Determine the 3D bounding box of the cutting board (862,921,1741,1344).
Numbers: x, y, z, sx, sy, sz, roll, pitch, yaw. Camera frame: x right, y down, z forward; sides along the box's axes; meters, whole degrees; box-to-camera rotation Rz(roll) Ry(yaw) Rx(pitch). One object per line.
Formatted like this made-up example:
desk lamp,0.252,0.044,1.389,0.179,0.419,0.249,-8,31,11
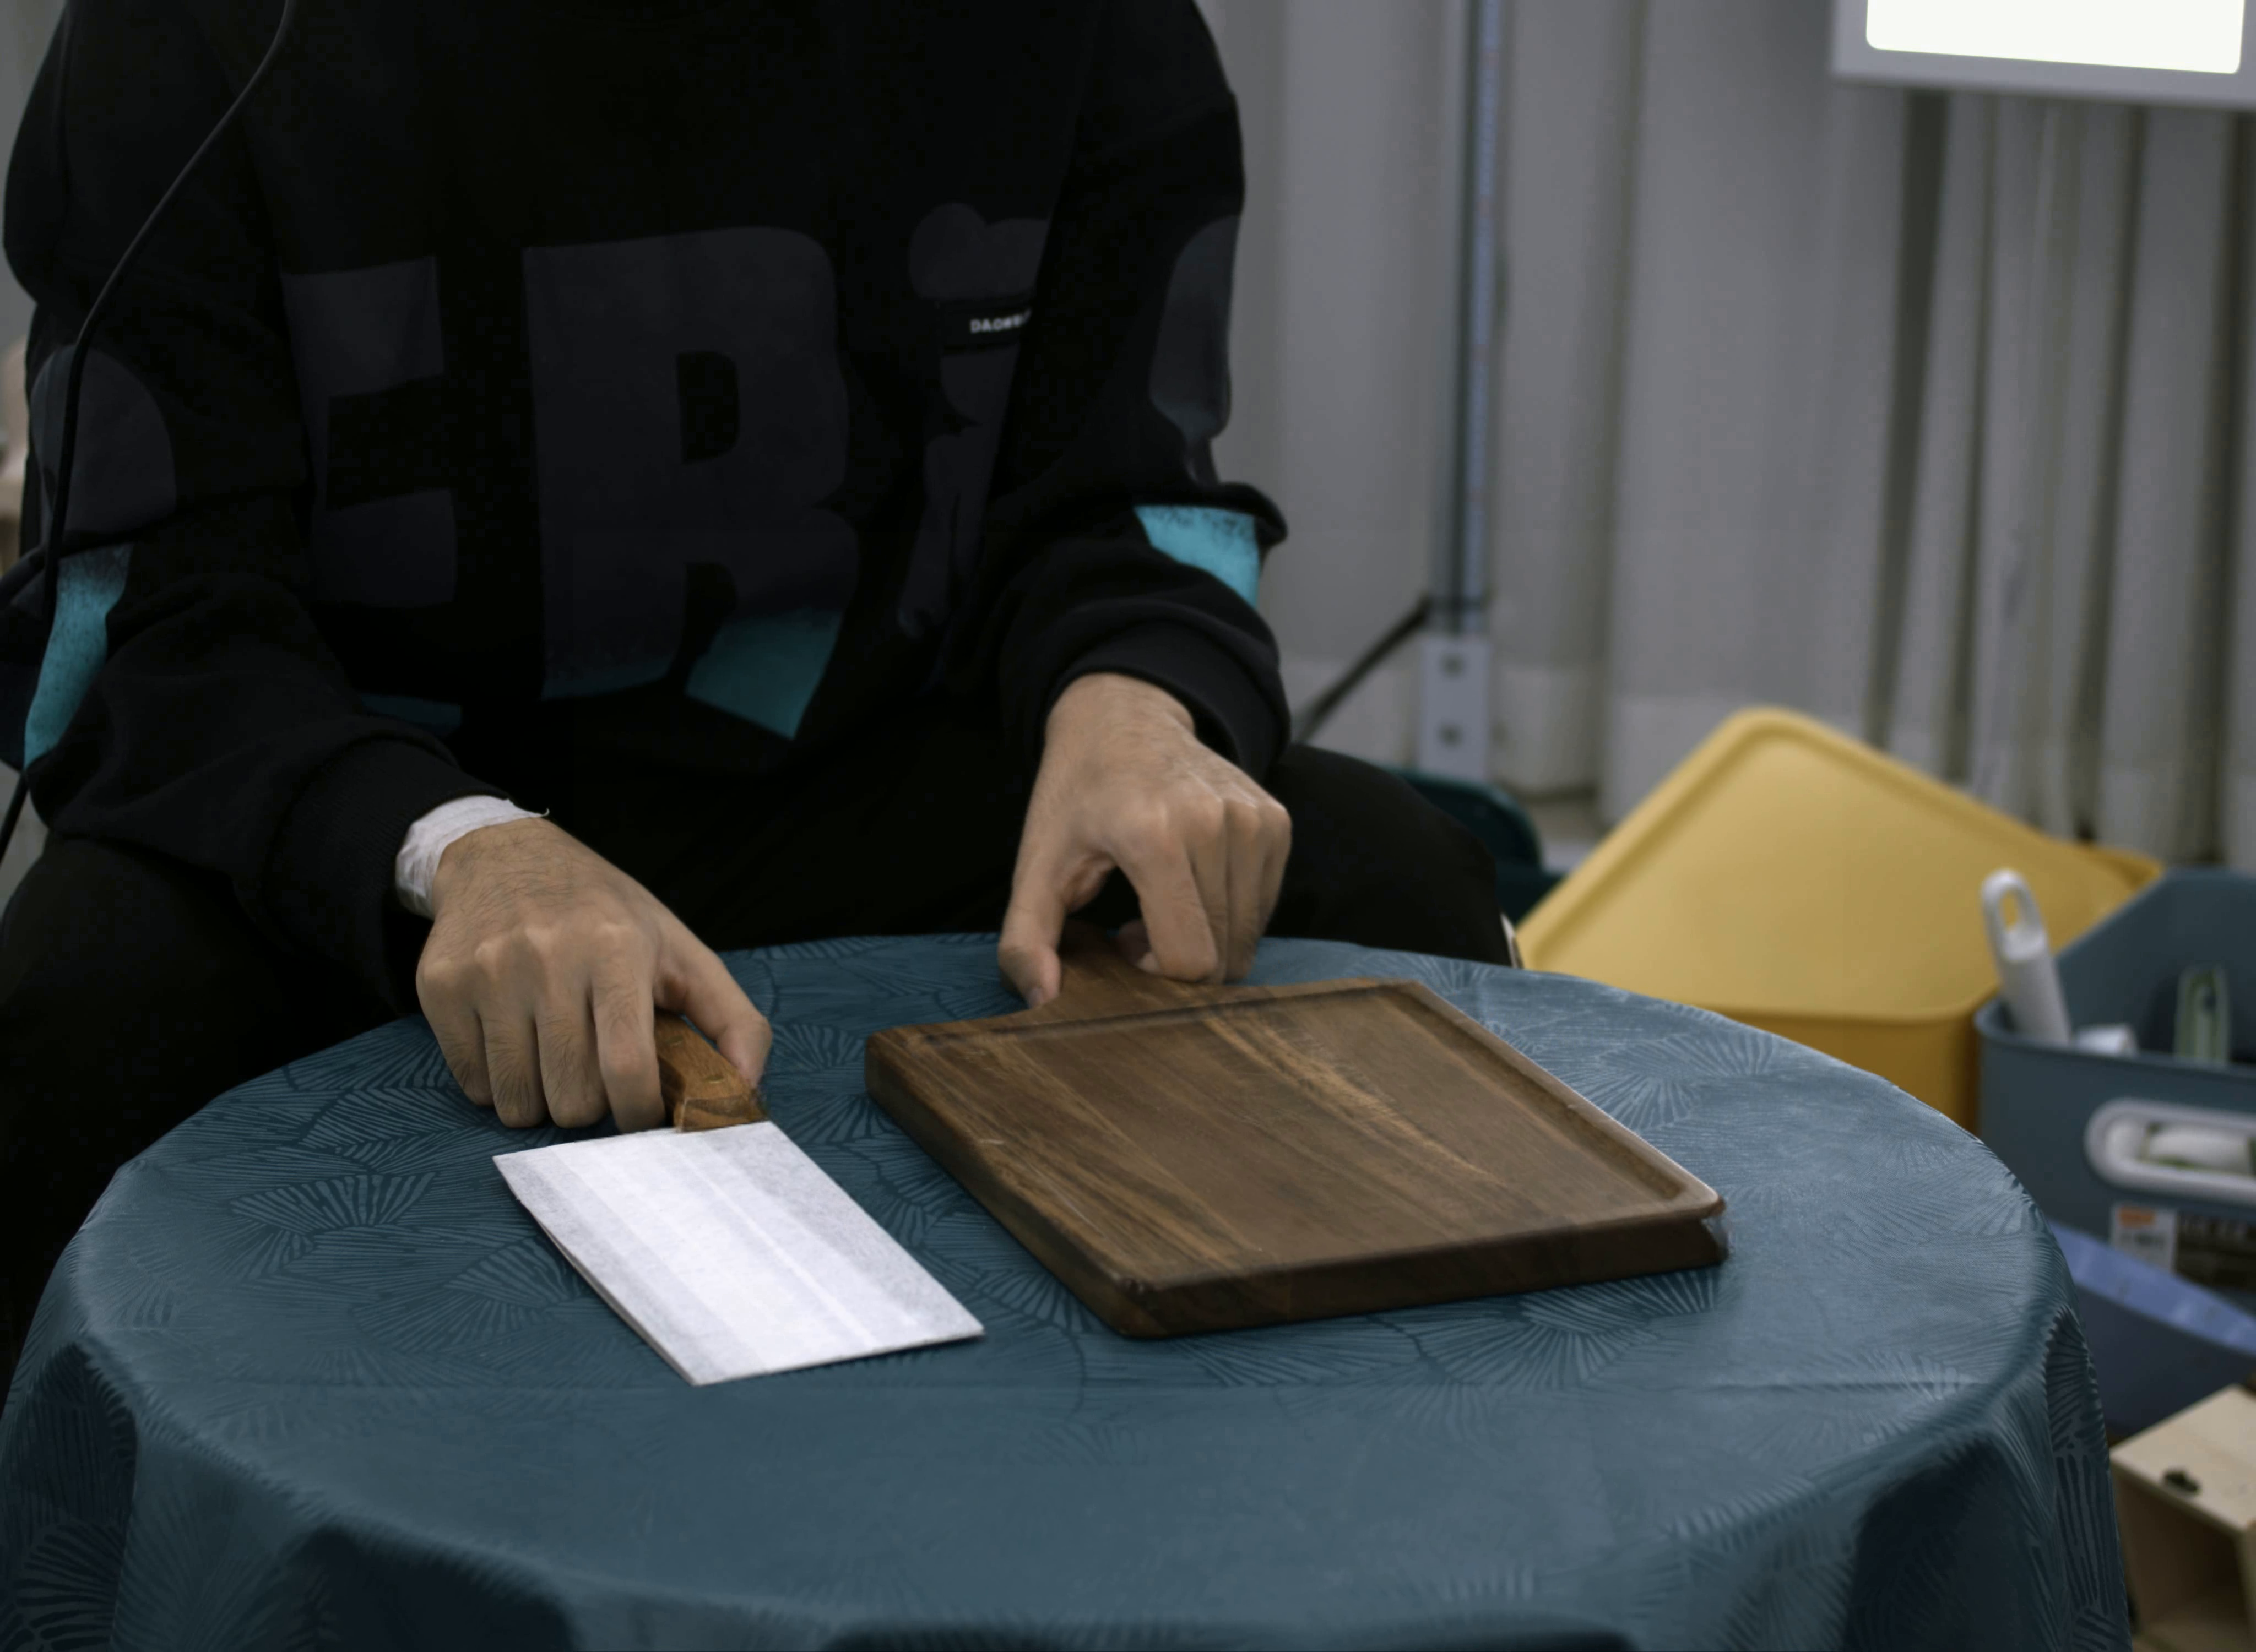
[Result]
cutting board,0.031,0.086,1.679,0.201,0.023,0.348,-6,16,-20

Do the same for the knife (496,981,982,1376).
knife,-0.140,0.107,1.611,0.093,0.021,0.302,-9,20,-22
